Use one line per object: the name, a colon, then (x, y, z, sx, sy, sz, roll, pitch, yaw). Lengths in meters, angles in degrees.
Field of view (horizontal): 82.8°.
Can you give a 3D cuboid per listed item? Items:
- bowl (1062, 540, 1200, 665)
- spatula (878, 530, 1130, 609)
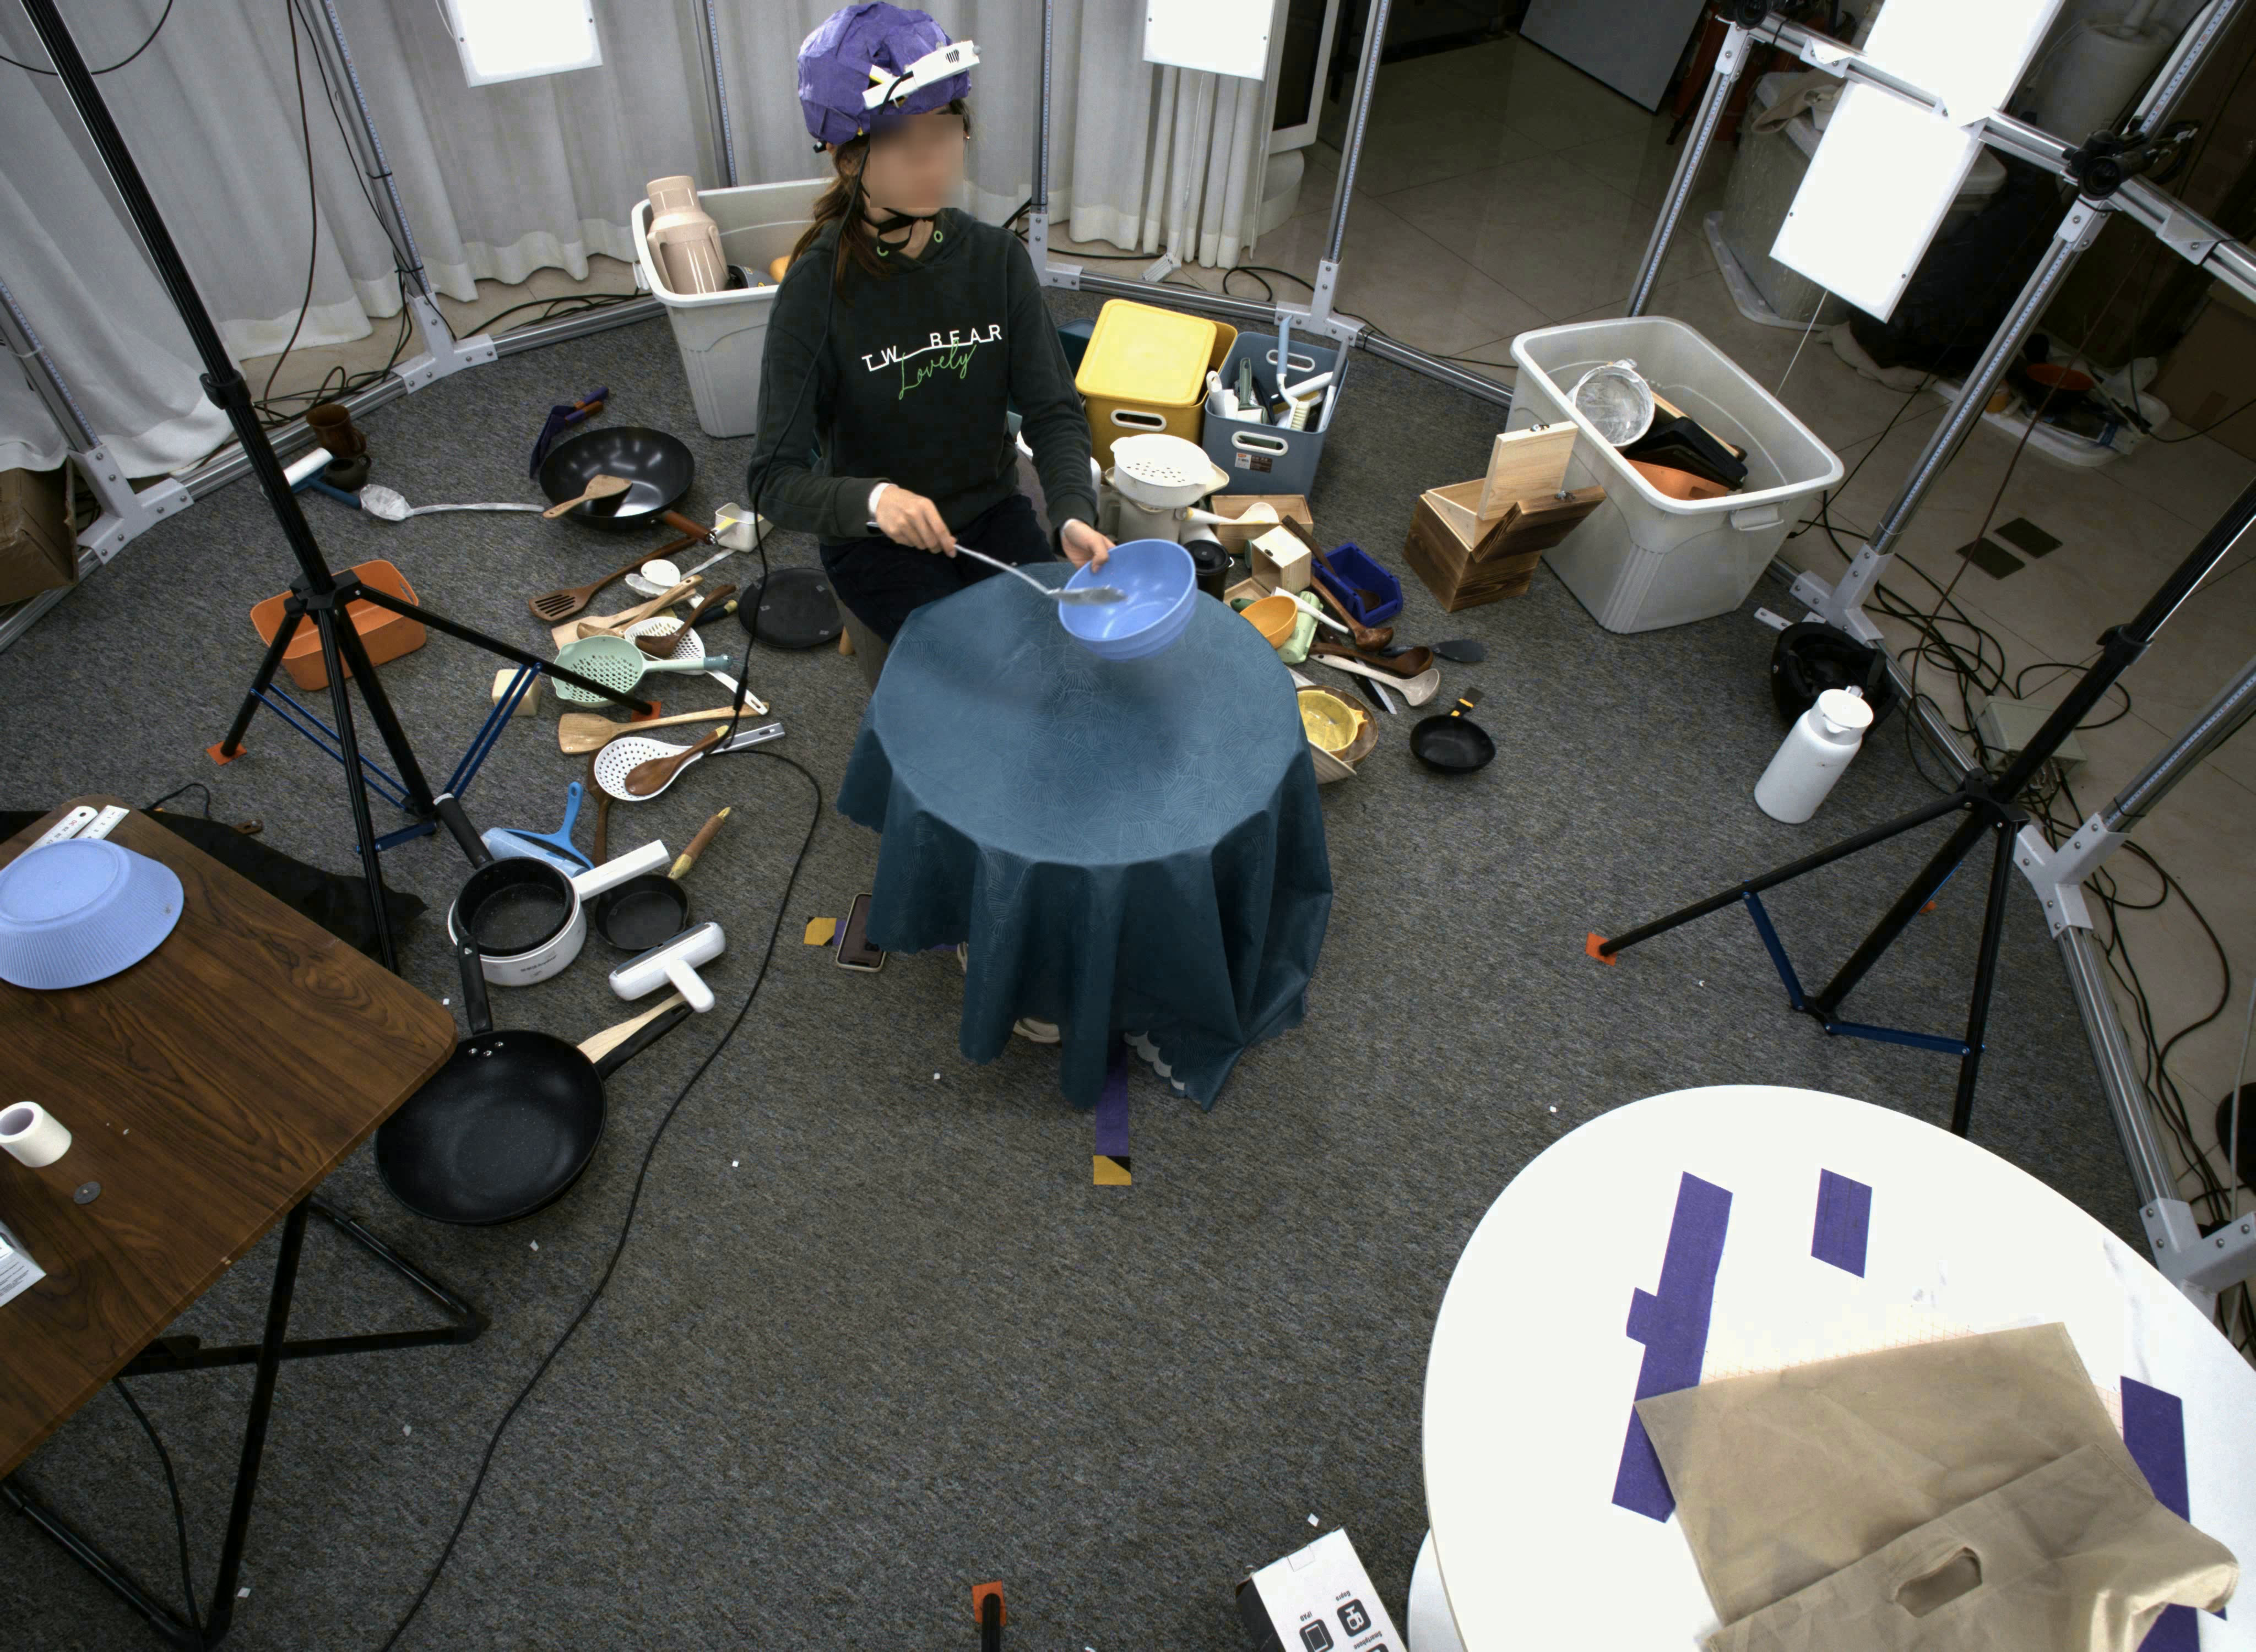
bowl: (0.017, -0.293, 1.778, 0.196, 0.093, 0.201, -15, 47, 16)
spatula: (-0.172, -0.345, 1.703, 0.367, 0.044, 0.098, 24, 7, 14)
